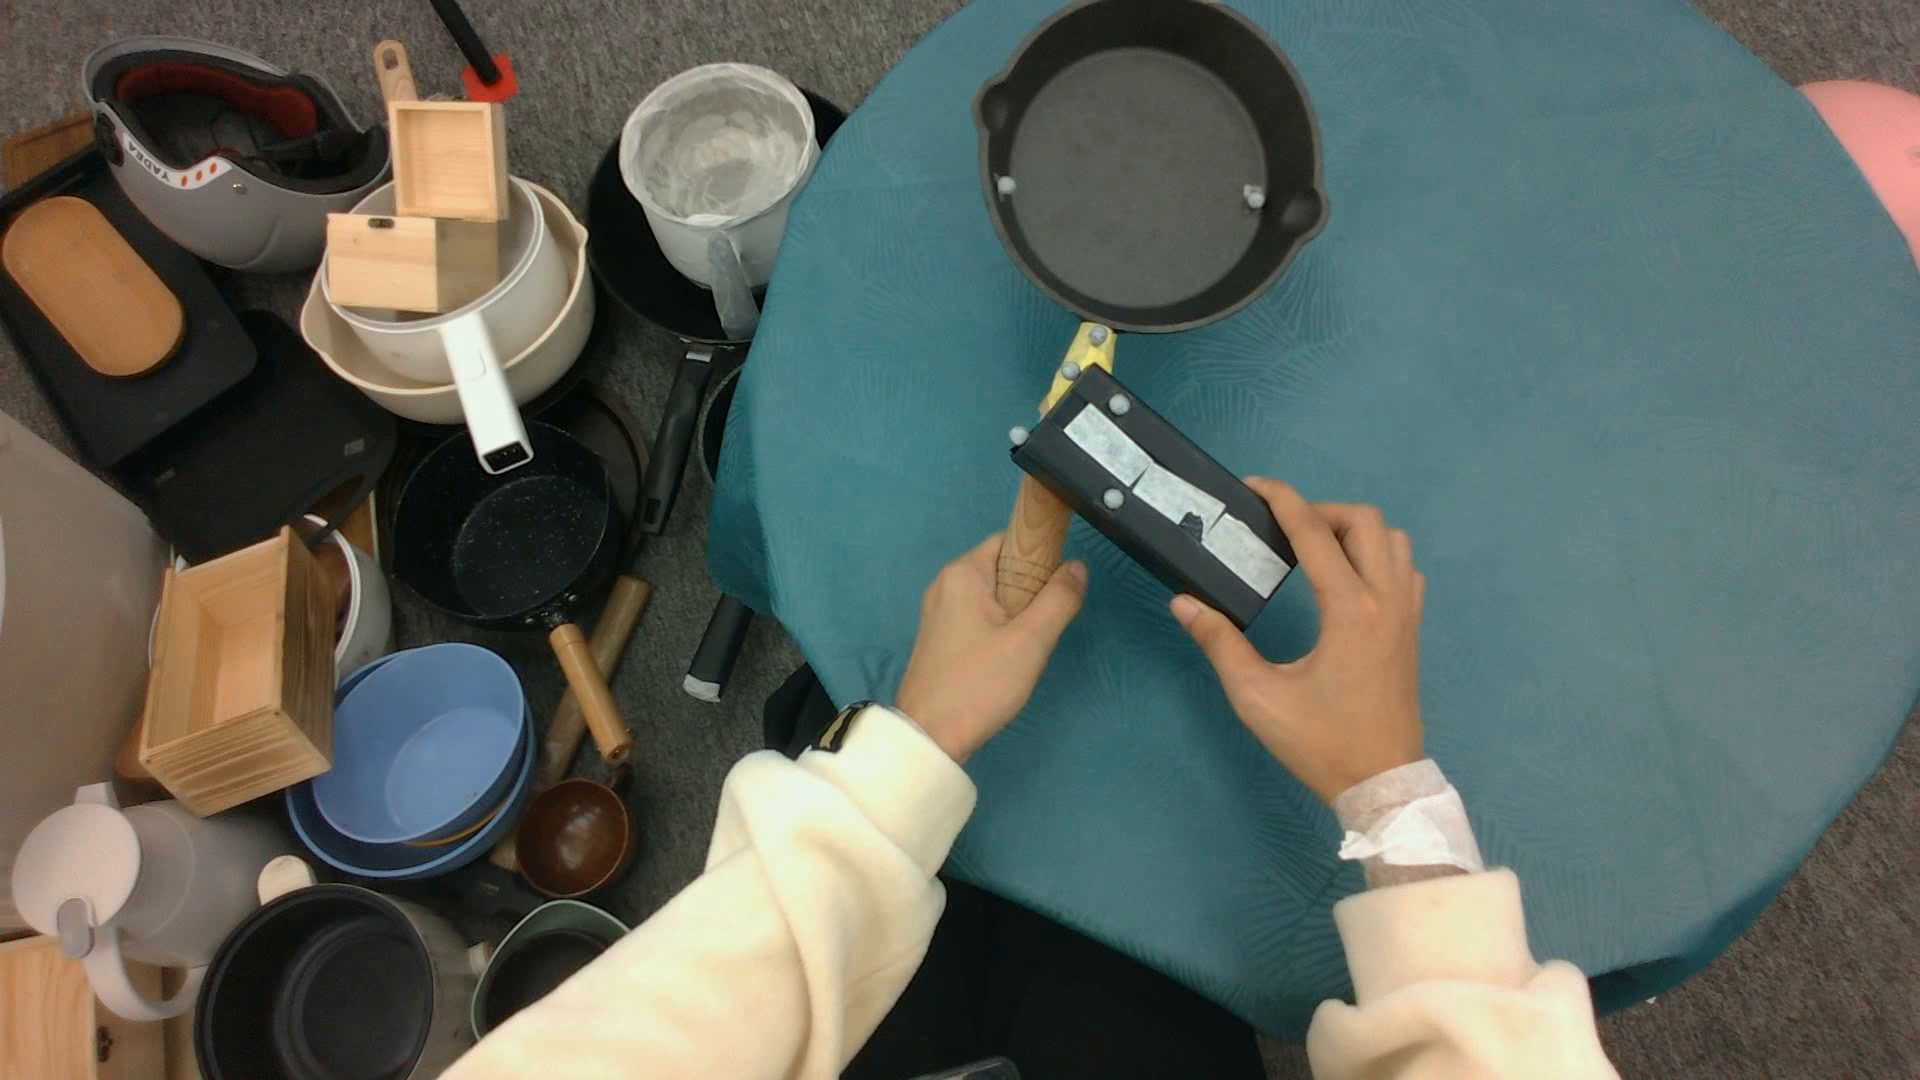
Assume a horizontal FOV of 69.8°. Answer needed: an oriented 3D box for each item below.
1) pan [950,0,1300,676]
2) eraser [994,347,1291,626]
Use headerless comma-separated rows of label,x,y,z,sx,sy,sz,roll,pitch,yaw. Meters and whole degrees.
pan,0.049,-0.096,0.623,0.169,0.049,0.324,19,84,-7
eraser,0.076,-0.022,0.588,0.125,0.030,0.053,40,83,-2
